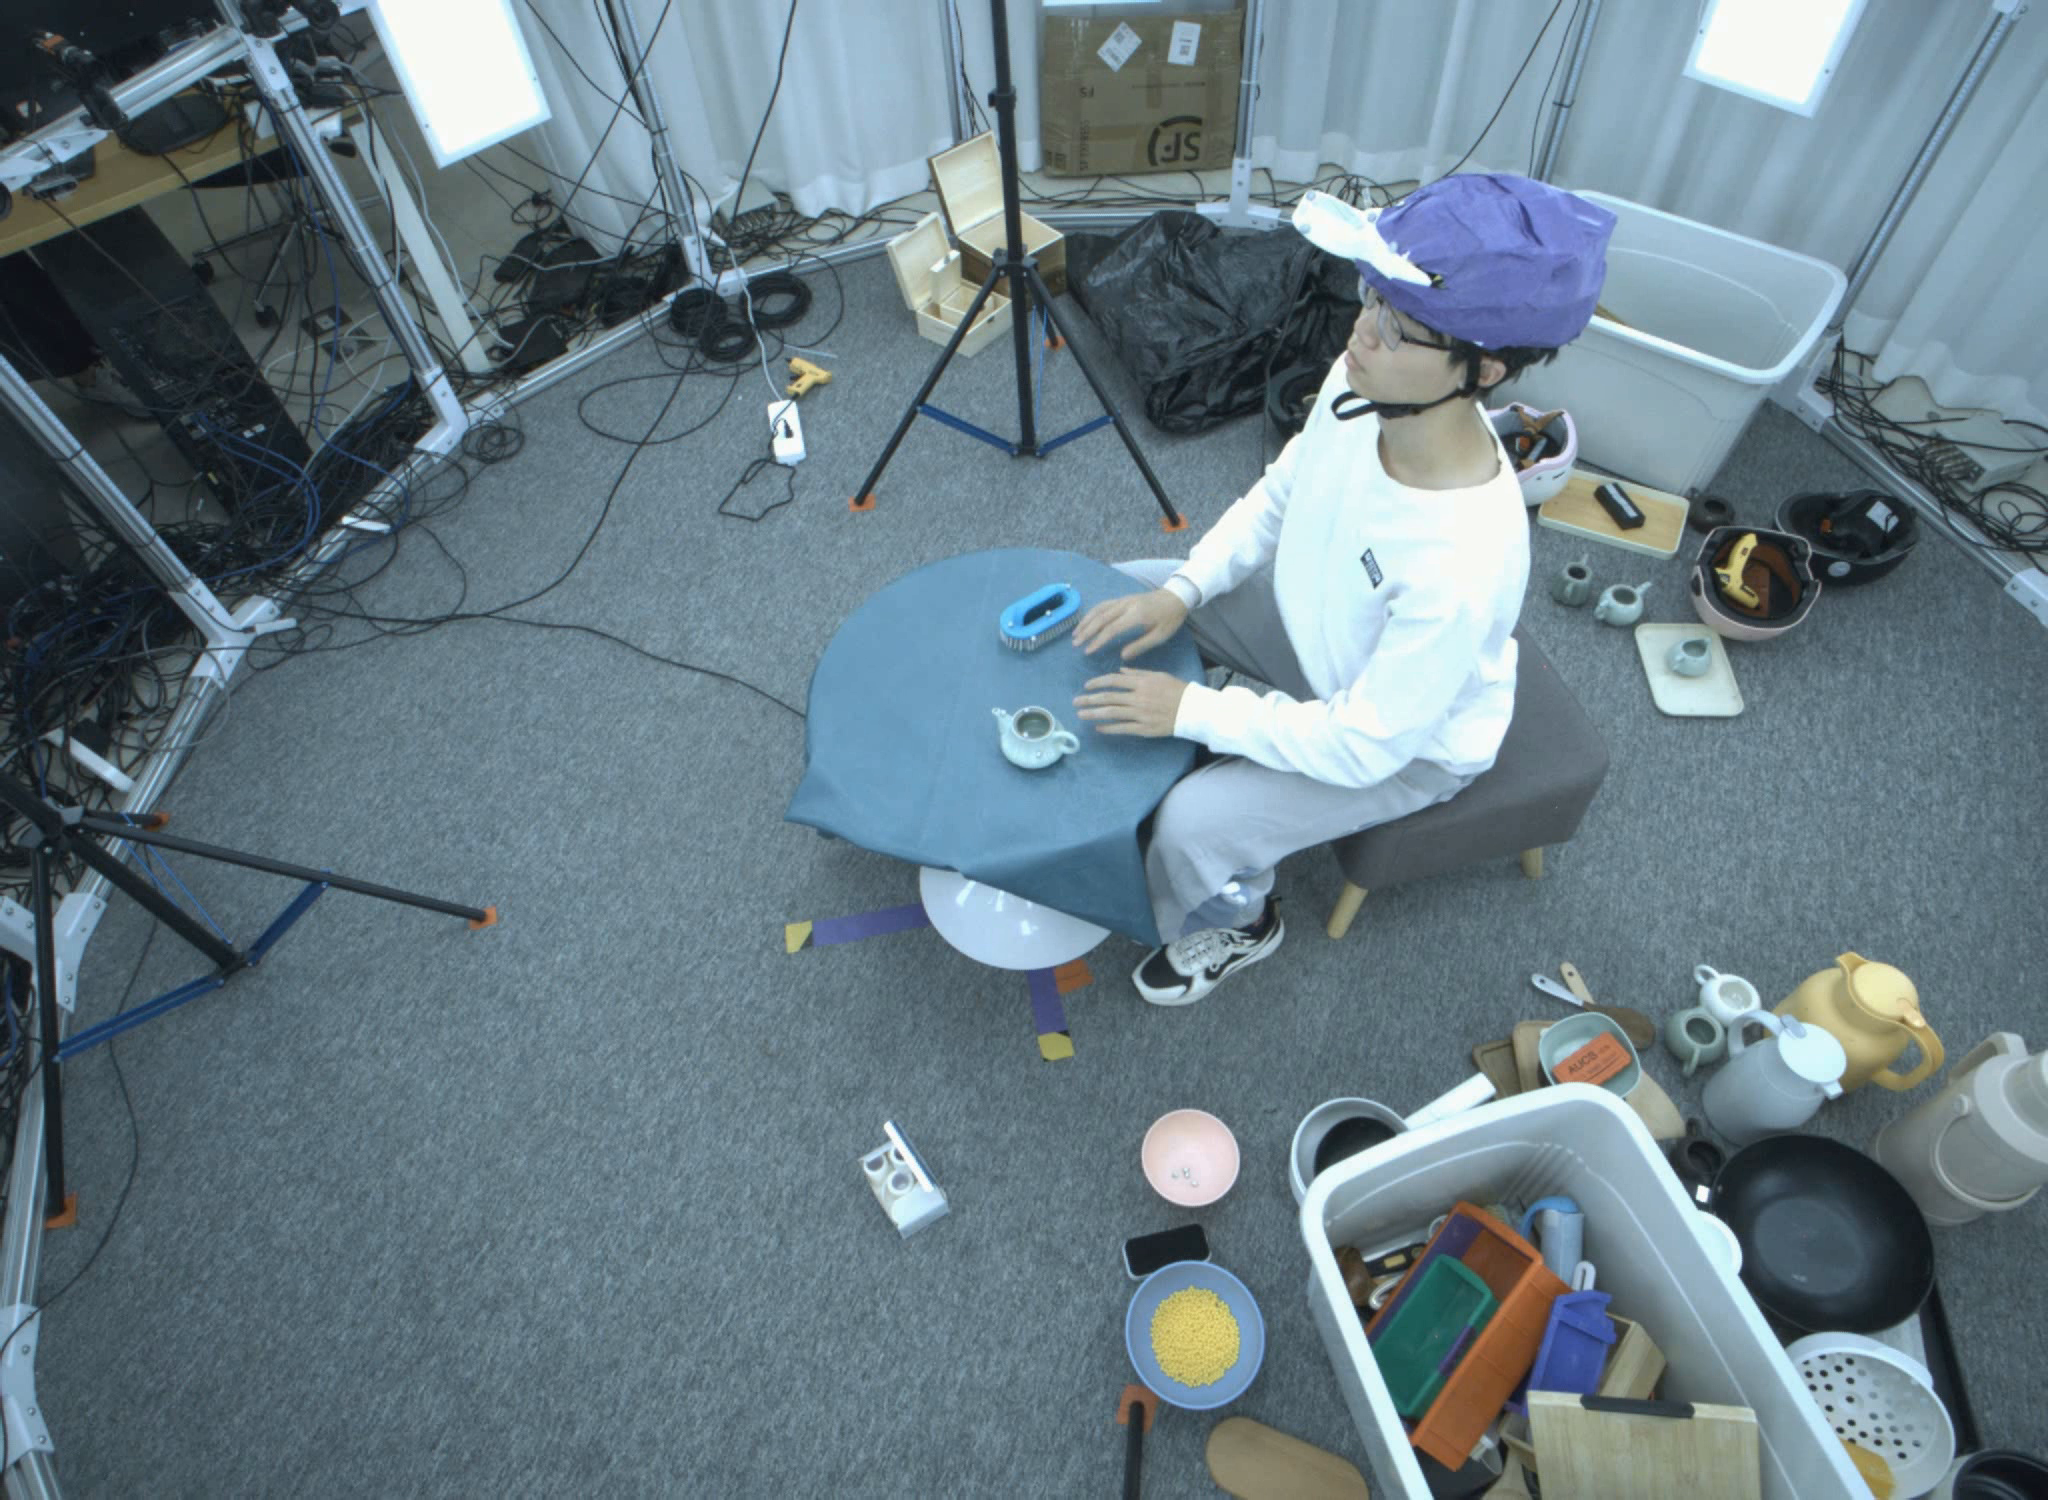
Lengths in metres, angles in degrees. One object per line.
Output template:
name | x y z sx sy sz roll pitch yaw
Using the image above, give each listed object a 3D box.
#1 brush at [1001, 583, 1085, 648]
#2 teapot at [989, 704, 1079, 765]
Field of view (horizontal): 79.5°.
brush | 0.026 -0.219 1.901 0.143 0.064 0.082 -30 53 -19
teapot | 0.014 -0.025 1.765 0.136 0.062 0.096 18 52 12
